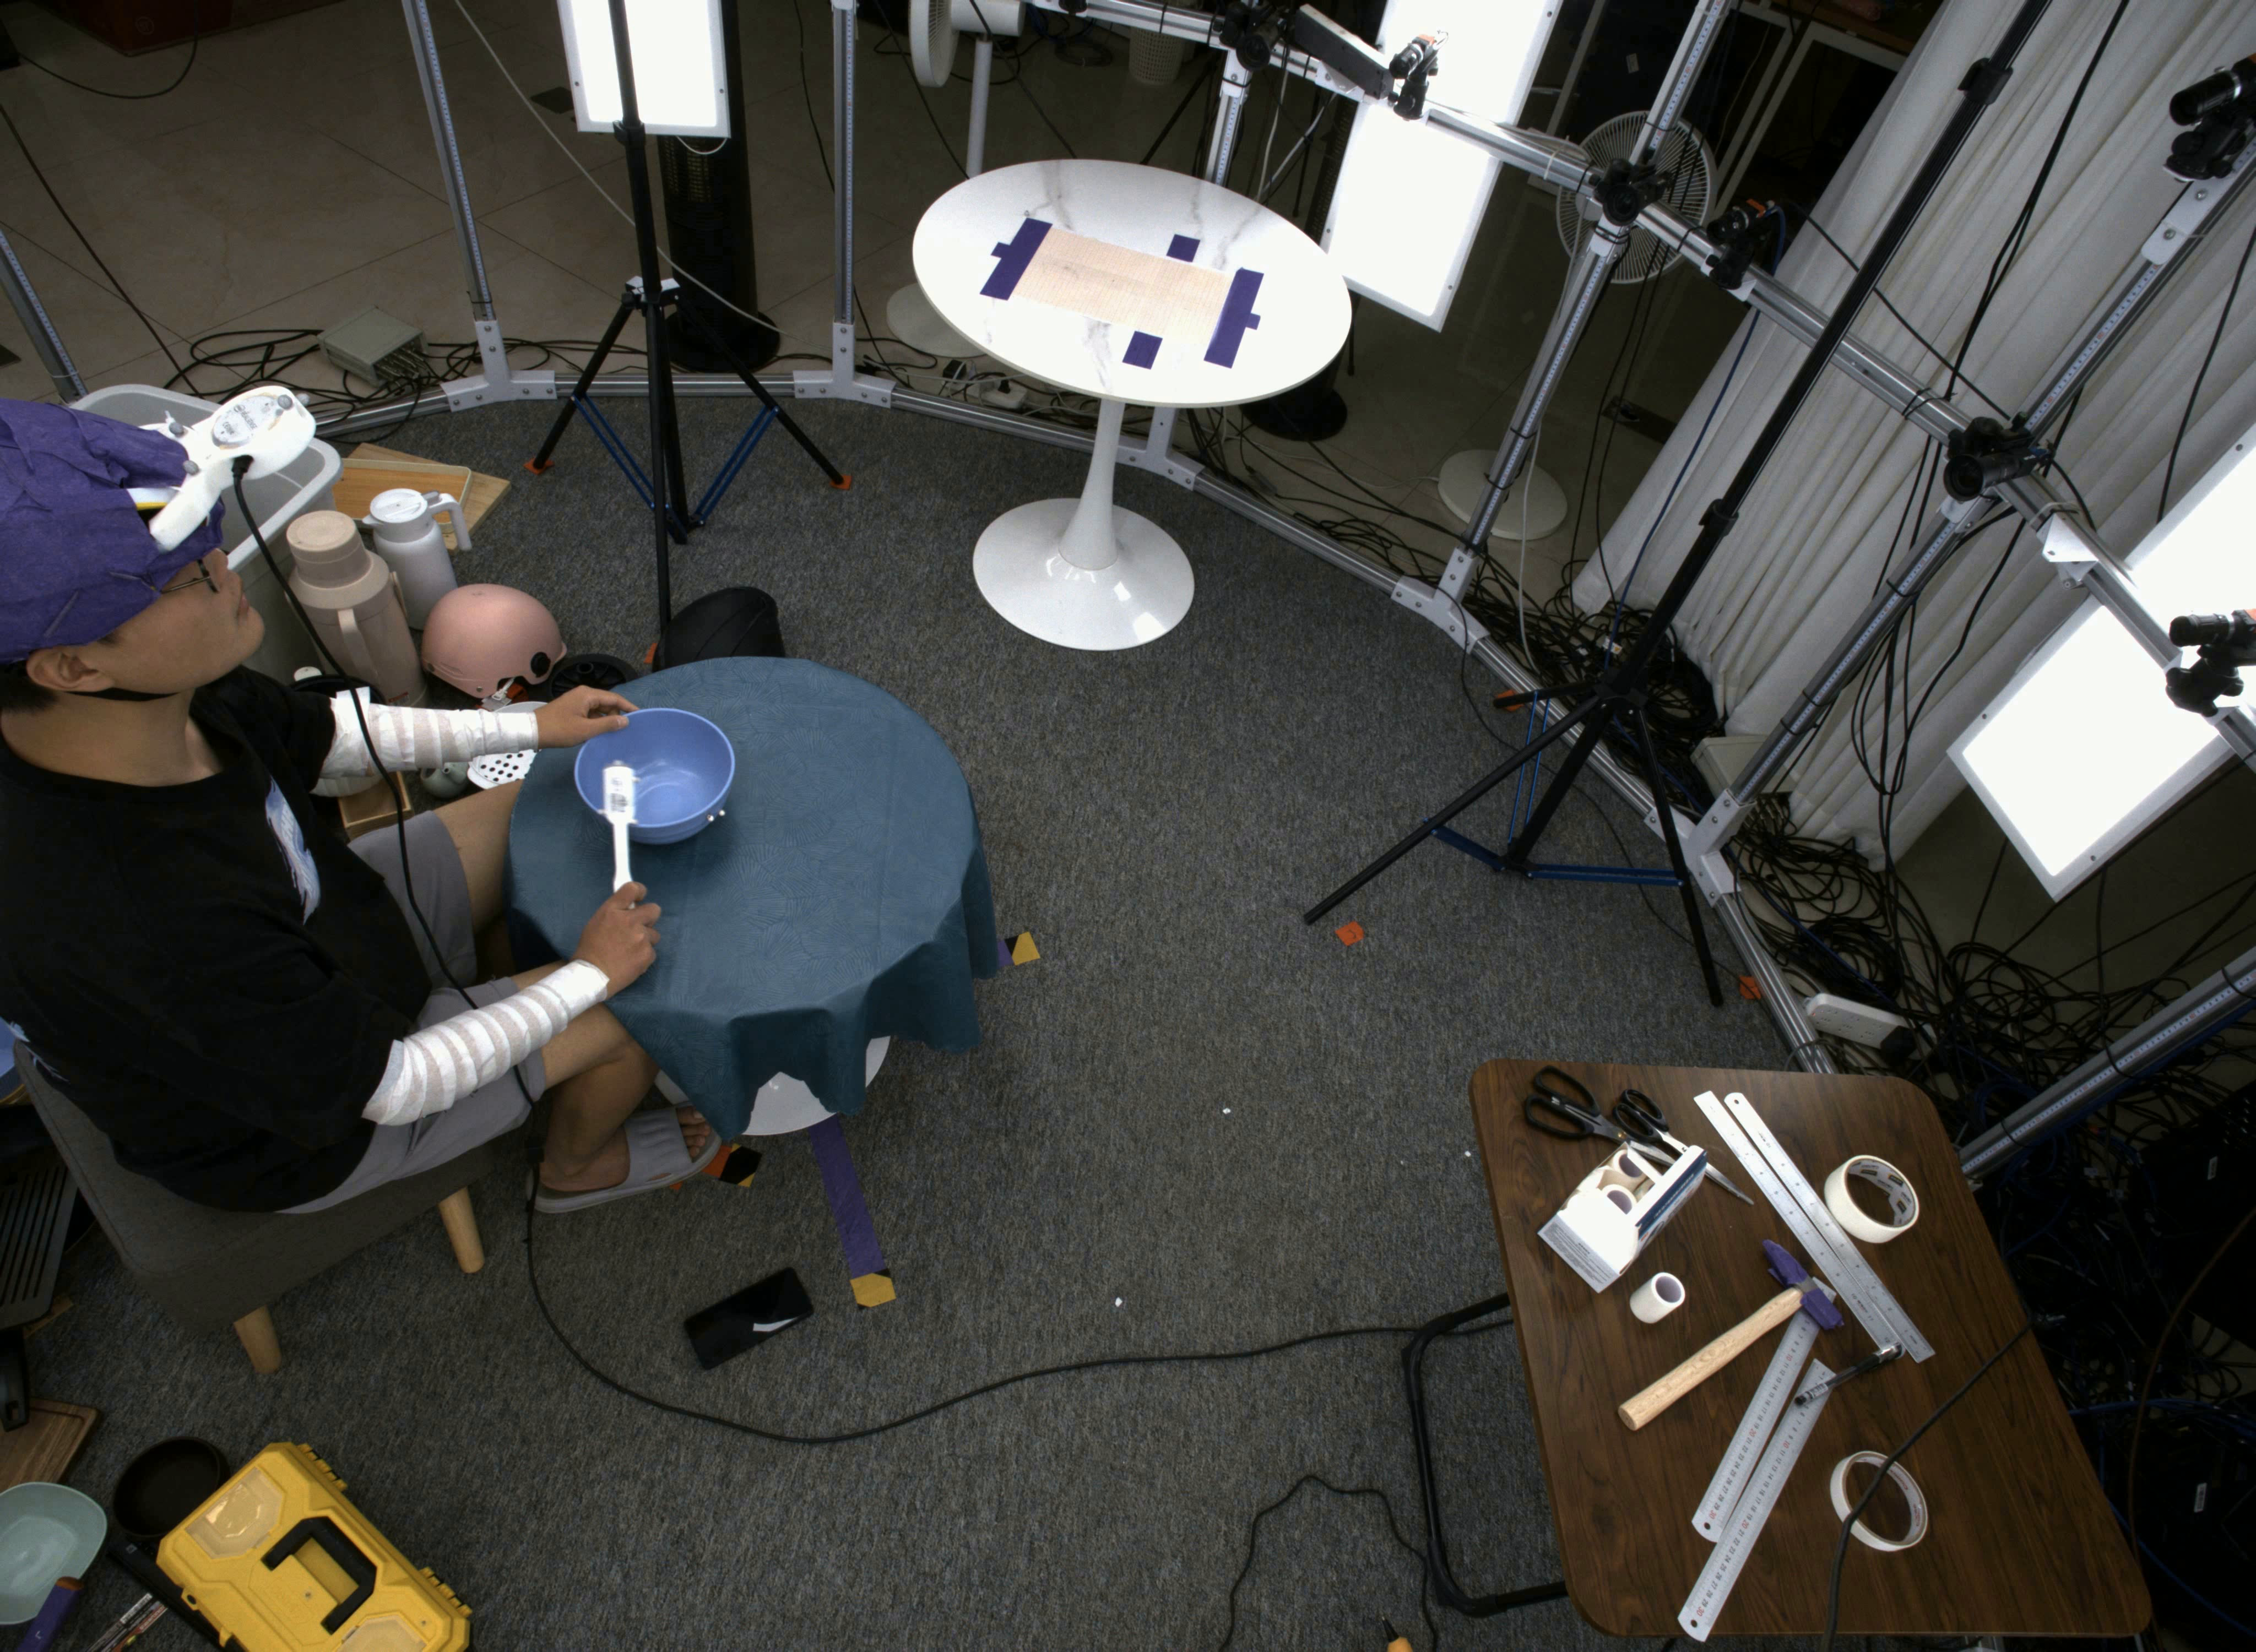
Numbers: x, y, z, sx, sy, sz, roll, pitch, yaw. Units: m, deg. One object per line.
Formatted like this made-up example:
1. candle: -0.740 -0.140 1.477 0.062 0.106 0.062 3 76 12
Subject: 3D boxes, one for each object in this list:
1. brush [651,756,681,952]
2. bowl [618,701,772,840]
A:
1. brush: -0.564 0.031 1.573 0.035 0.049 0.244 -2 81 -22
2. bowl: -0.562 -0.058 1.685 0.196 0.097 0.193 7 55 -8
